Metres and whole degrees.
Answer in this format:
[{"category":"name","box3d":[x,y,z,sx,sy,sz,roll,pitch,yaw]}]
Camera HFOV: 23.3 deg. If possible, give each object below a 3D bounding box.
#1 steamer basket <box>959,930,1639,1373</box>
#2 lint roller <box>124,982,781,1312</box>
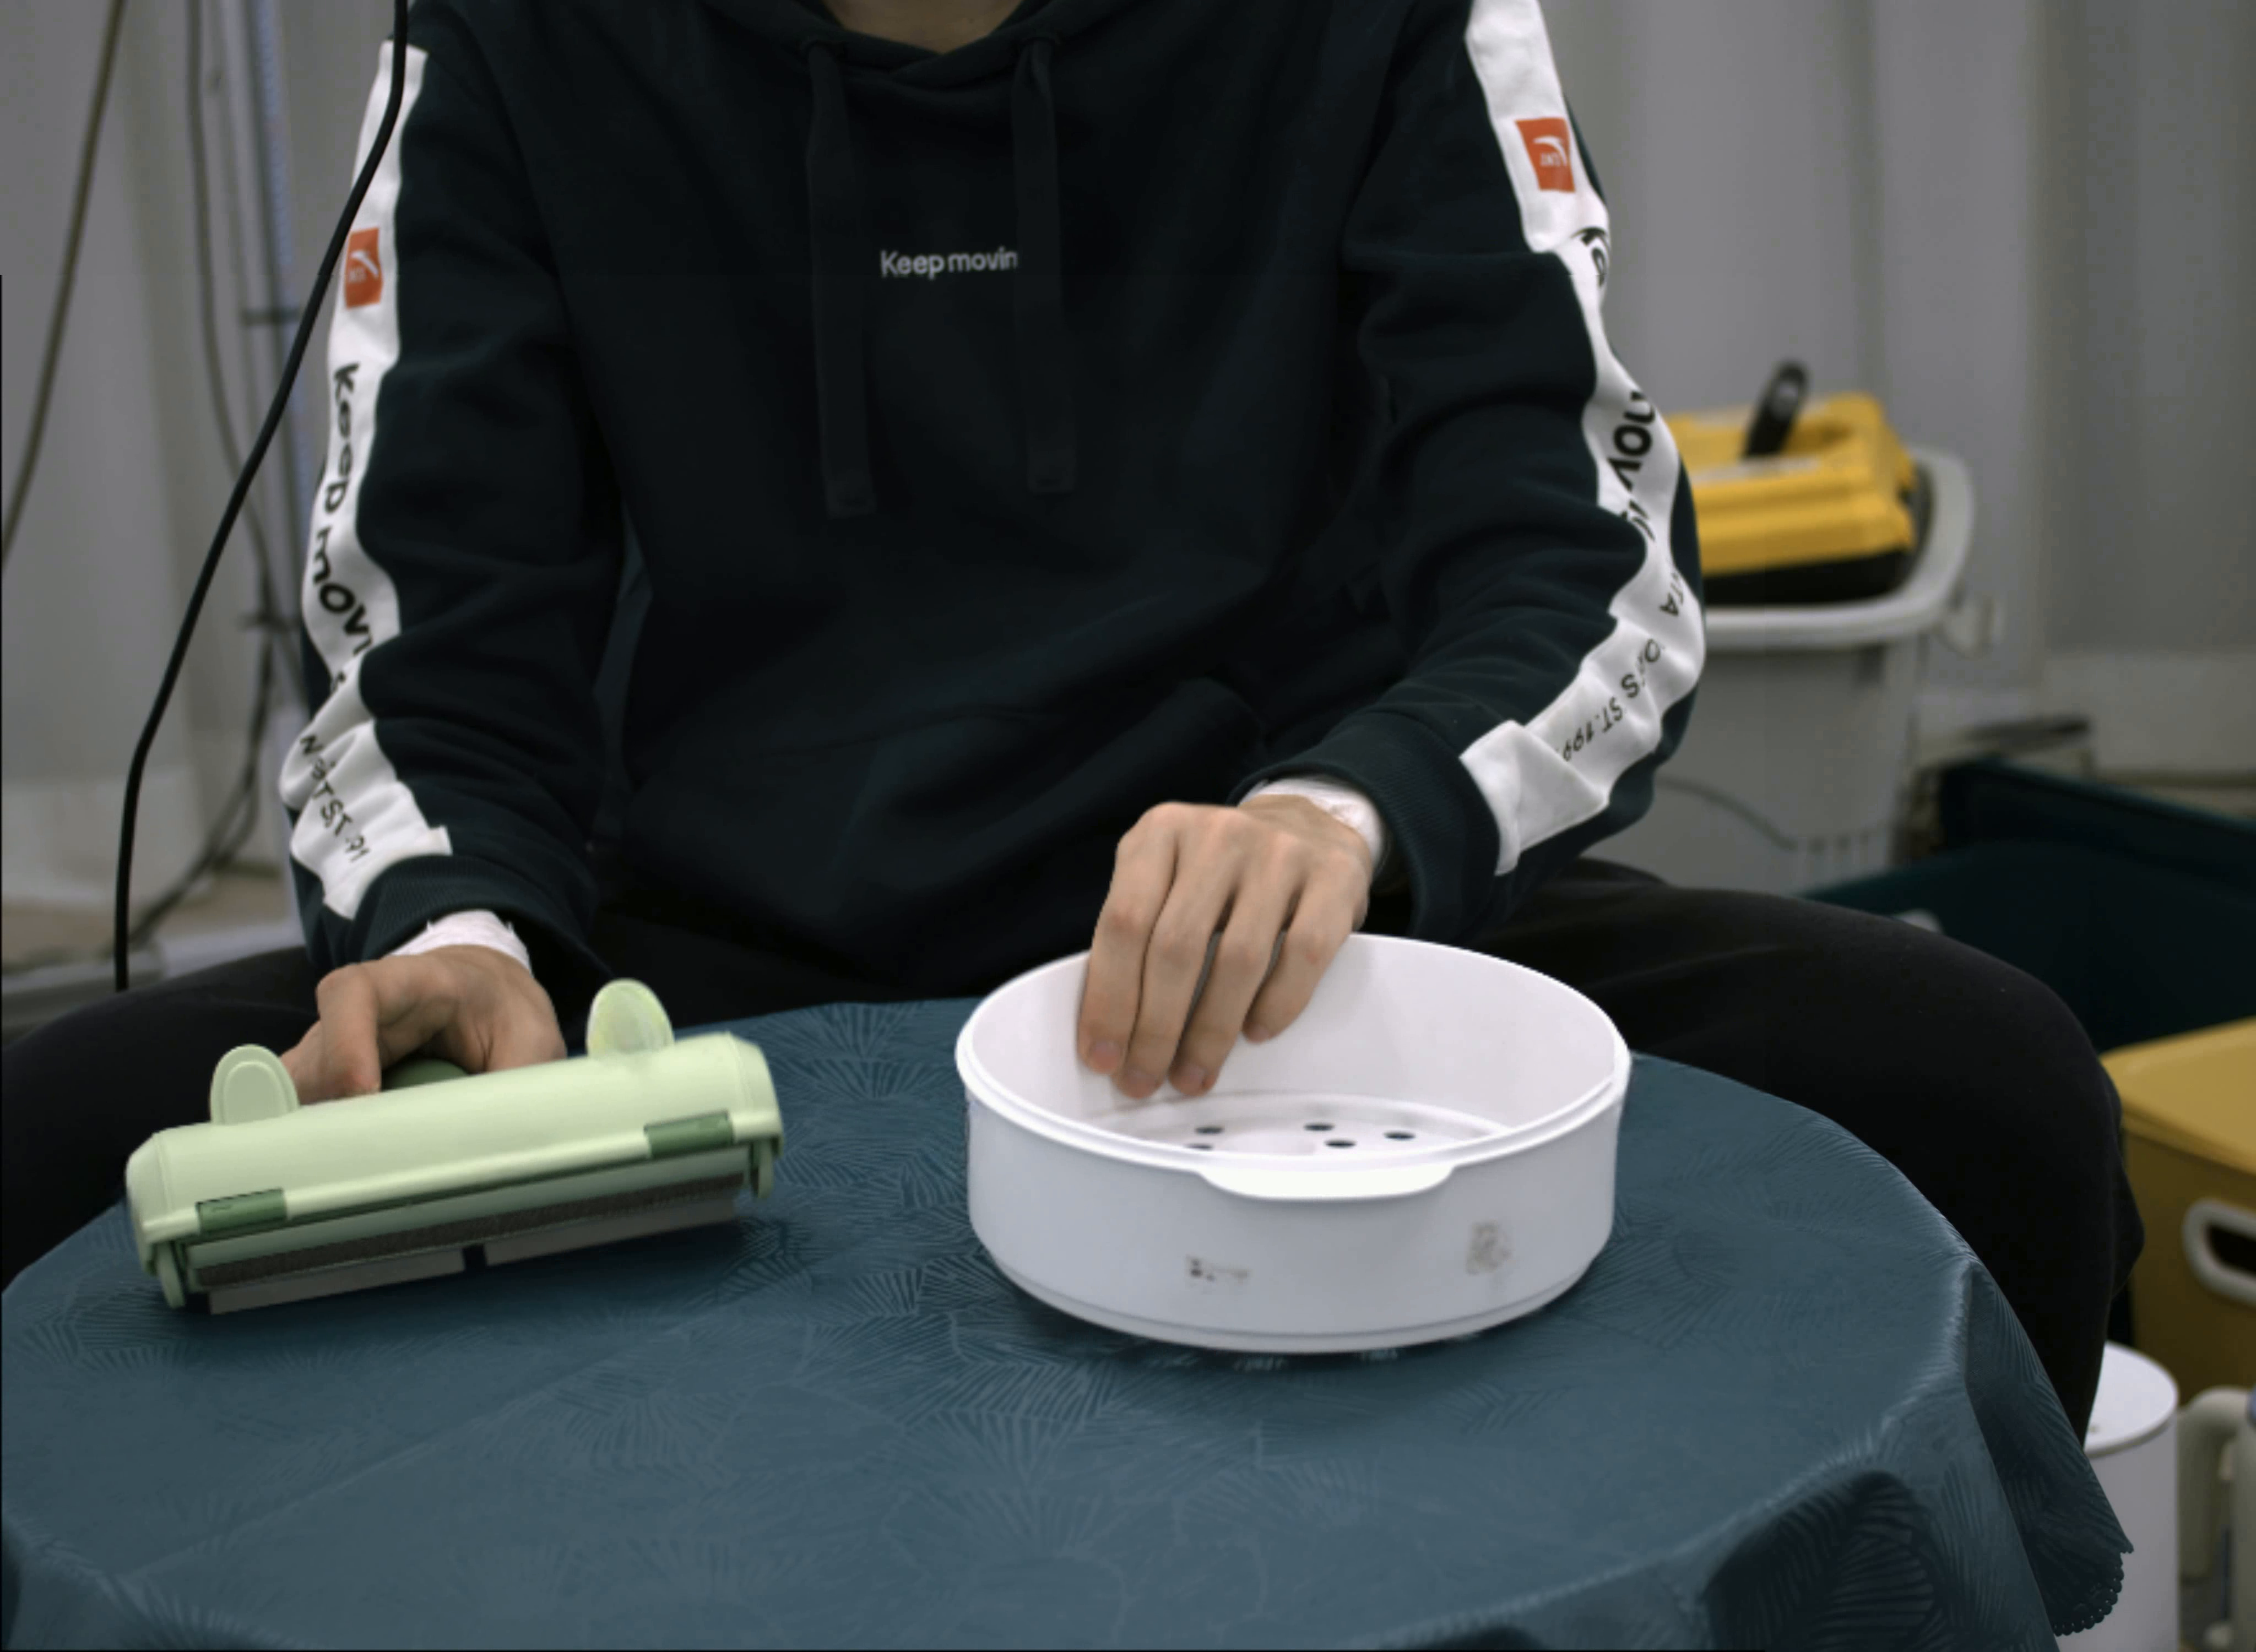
[{"category":"steamer basket","box3d":[0.051,0.097,1.626,0.201,0.069,0.233,-3,19,-5]},{"category":"lint roller","box3d":[-0.219,0.083,1.716,0.198,0.082,0.185,-9,19,-11]}]
